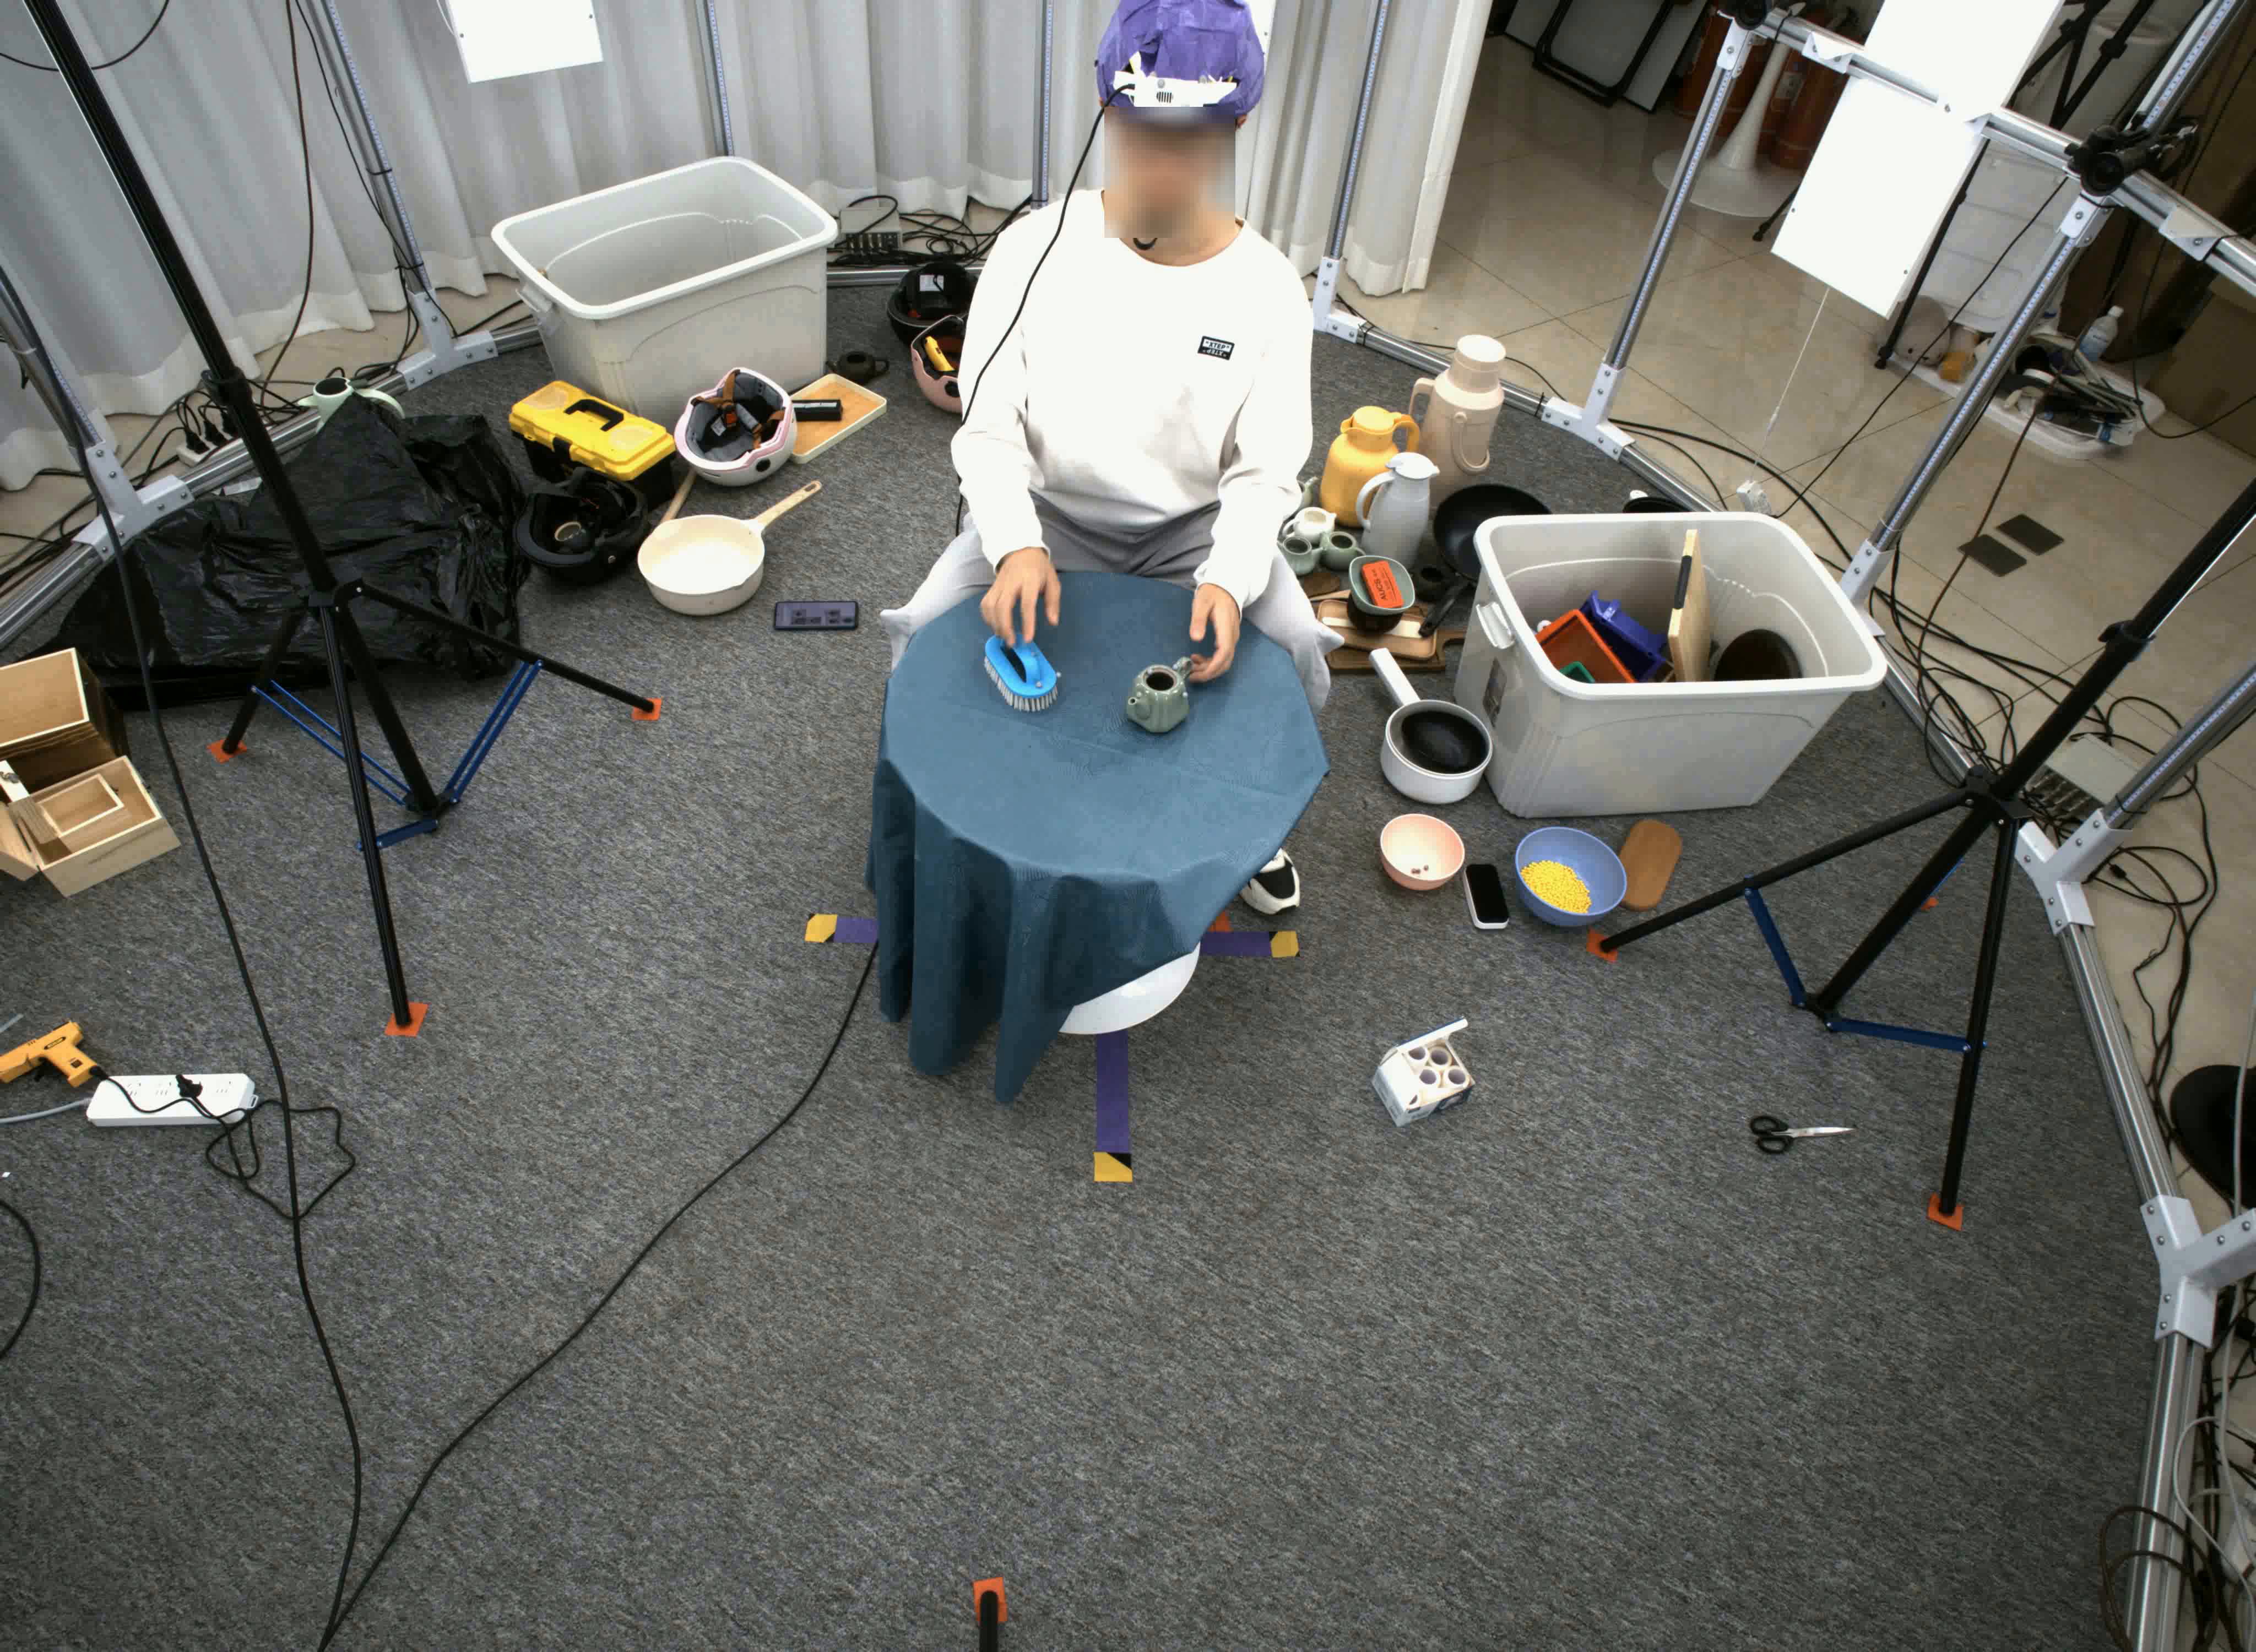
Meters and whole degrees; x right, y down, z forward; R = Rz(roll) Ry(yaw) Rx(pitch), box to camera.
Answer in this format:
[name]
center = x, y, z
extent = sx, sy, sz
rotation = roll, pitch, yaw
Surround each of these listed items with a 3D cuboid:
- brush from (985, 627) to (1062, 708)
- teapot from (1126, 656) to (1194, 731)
[brush]
center = -0.151, -0.234, 1.815
extent = 0.084, 0.062, 0.145
rotation = -22, 53, -15
[teapot]
center = 0.043, -0.182, 1.778
extent = 0.081, 0.073, 0.134
rotation = 36, 55, 23
